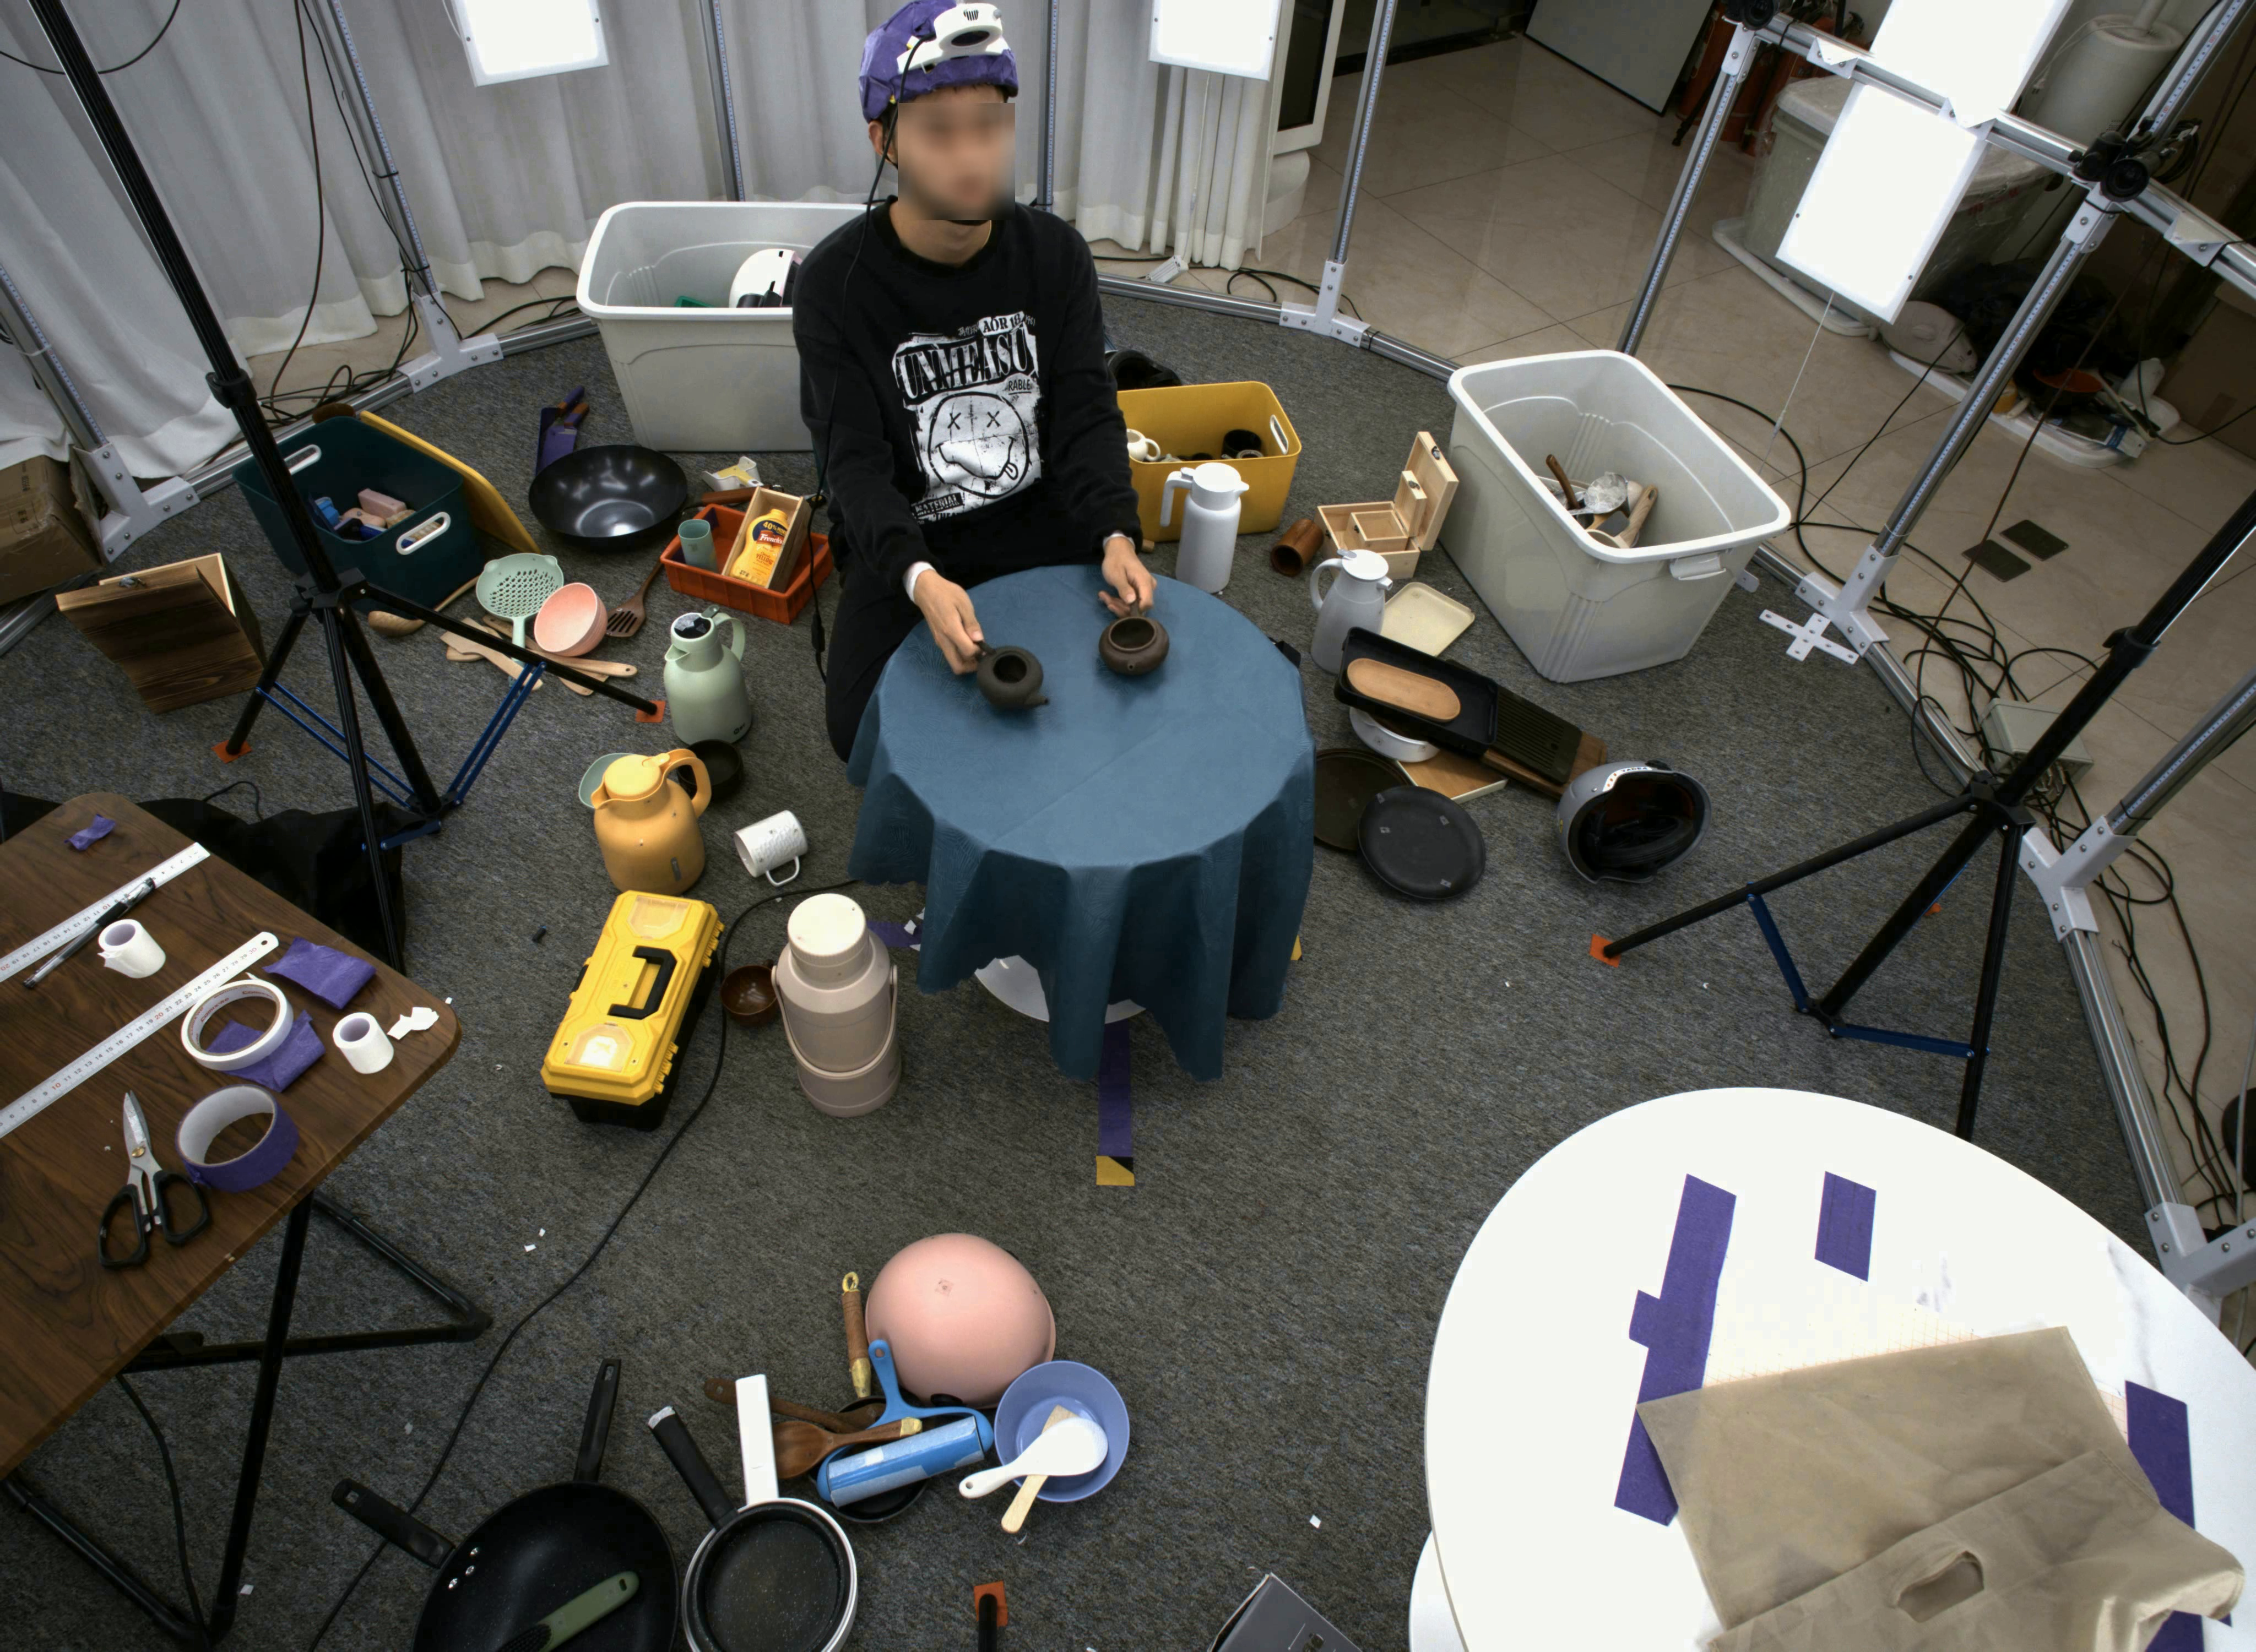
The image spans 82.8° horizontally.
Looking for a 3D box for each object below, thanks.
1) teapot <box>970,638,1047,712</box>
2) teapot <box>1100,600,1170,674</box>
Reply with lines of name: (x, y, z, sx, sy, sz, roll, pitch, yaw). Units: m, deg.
teapot: (-0.168, -0.205, 1.786, 0.093, 0.063, 0.156, -38, 72, -25)
teapot: (0.010, -0.267, 1.861, 0.102, 0.052, 0.157, -5, 51, 1)
